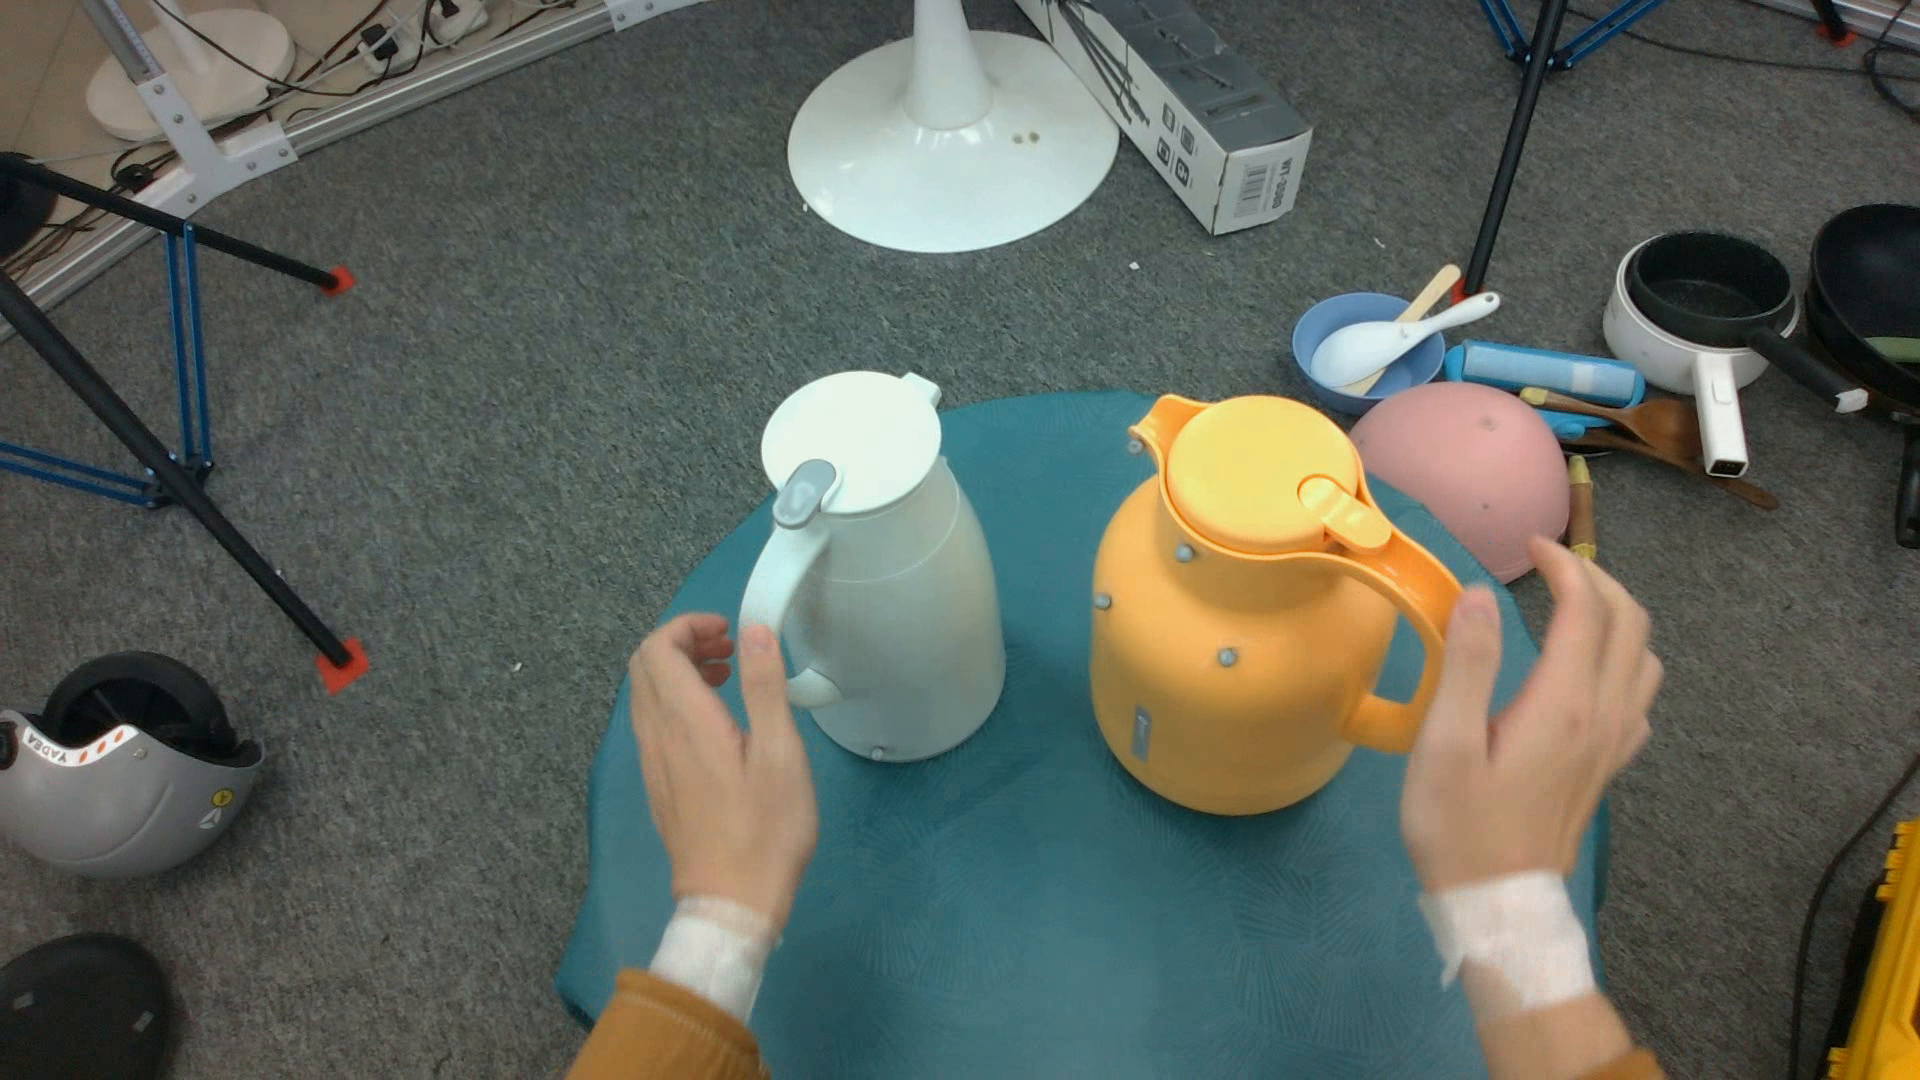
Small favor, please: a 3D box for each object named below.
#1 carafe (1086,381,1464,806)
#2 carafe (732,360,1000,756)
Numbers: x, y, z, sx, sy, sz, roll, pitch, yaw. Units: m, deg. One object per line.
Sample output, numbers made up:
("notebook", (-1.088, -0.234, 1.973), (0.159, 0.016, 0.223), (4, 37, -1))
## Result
("carafe", (0.162, 0.039, 0.740), (0.202, 0.259, 0.164), (37, 68, 27))
("carafe", (-0.059, 0.024, 0.776), (0.132, 0.247, 0.168), (26, 62, 21))
